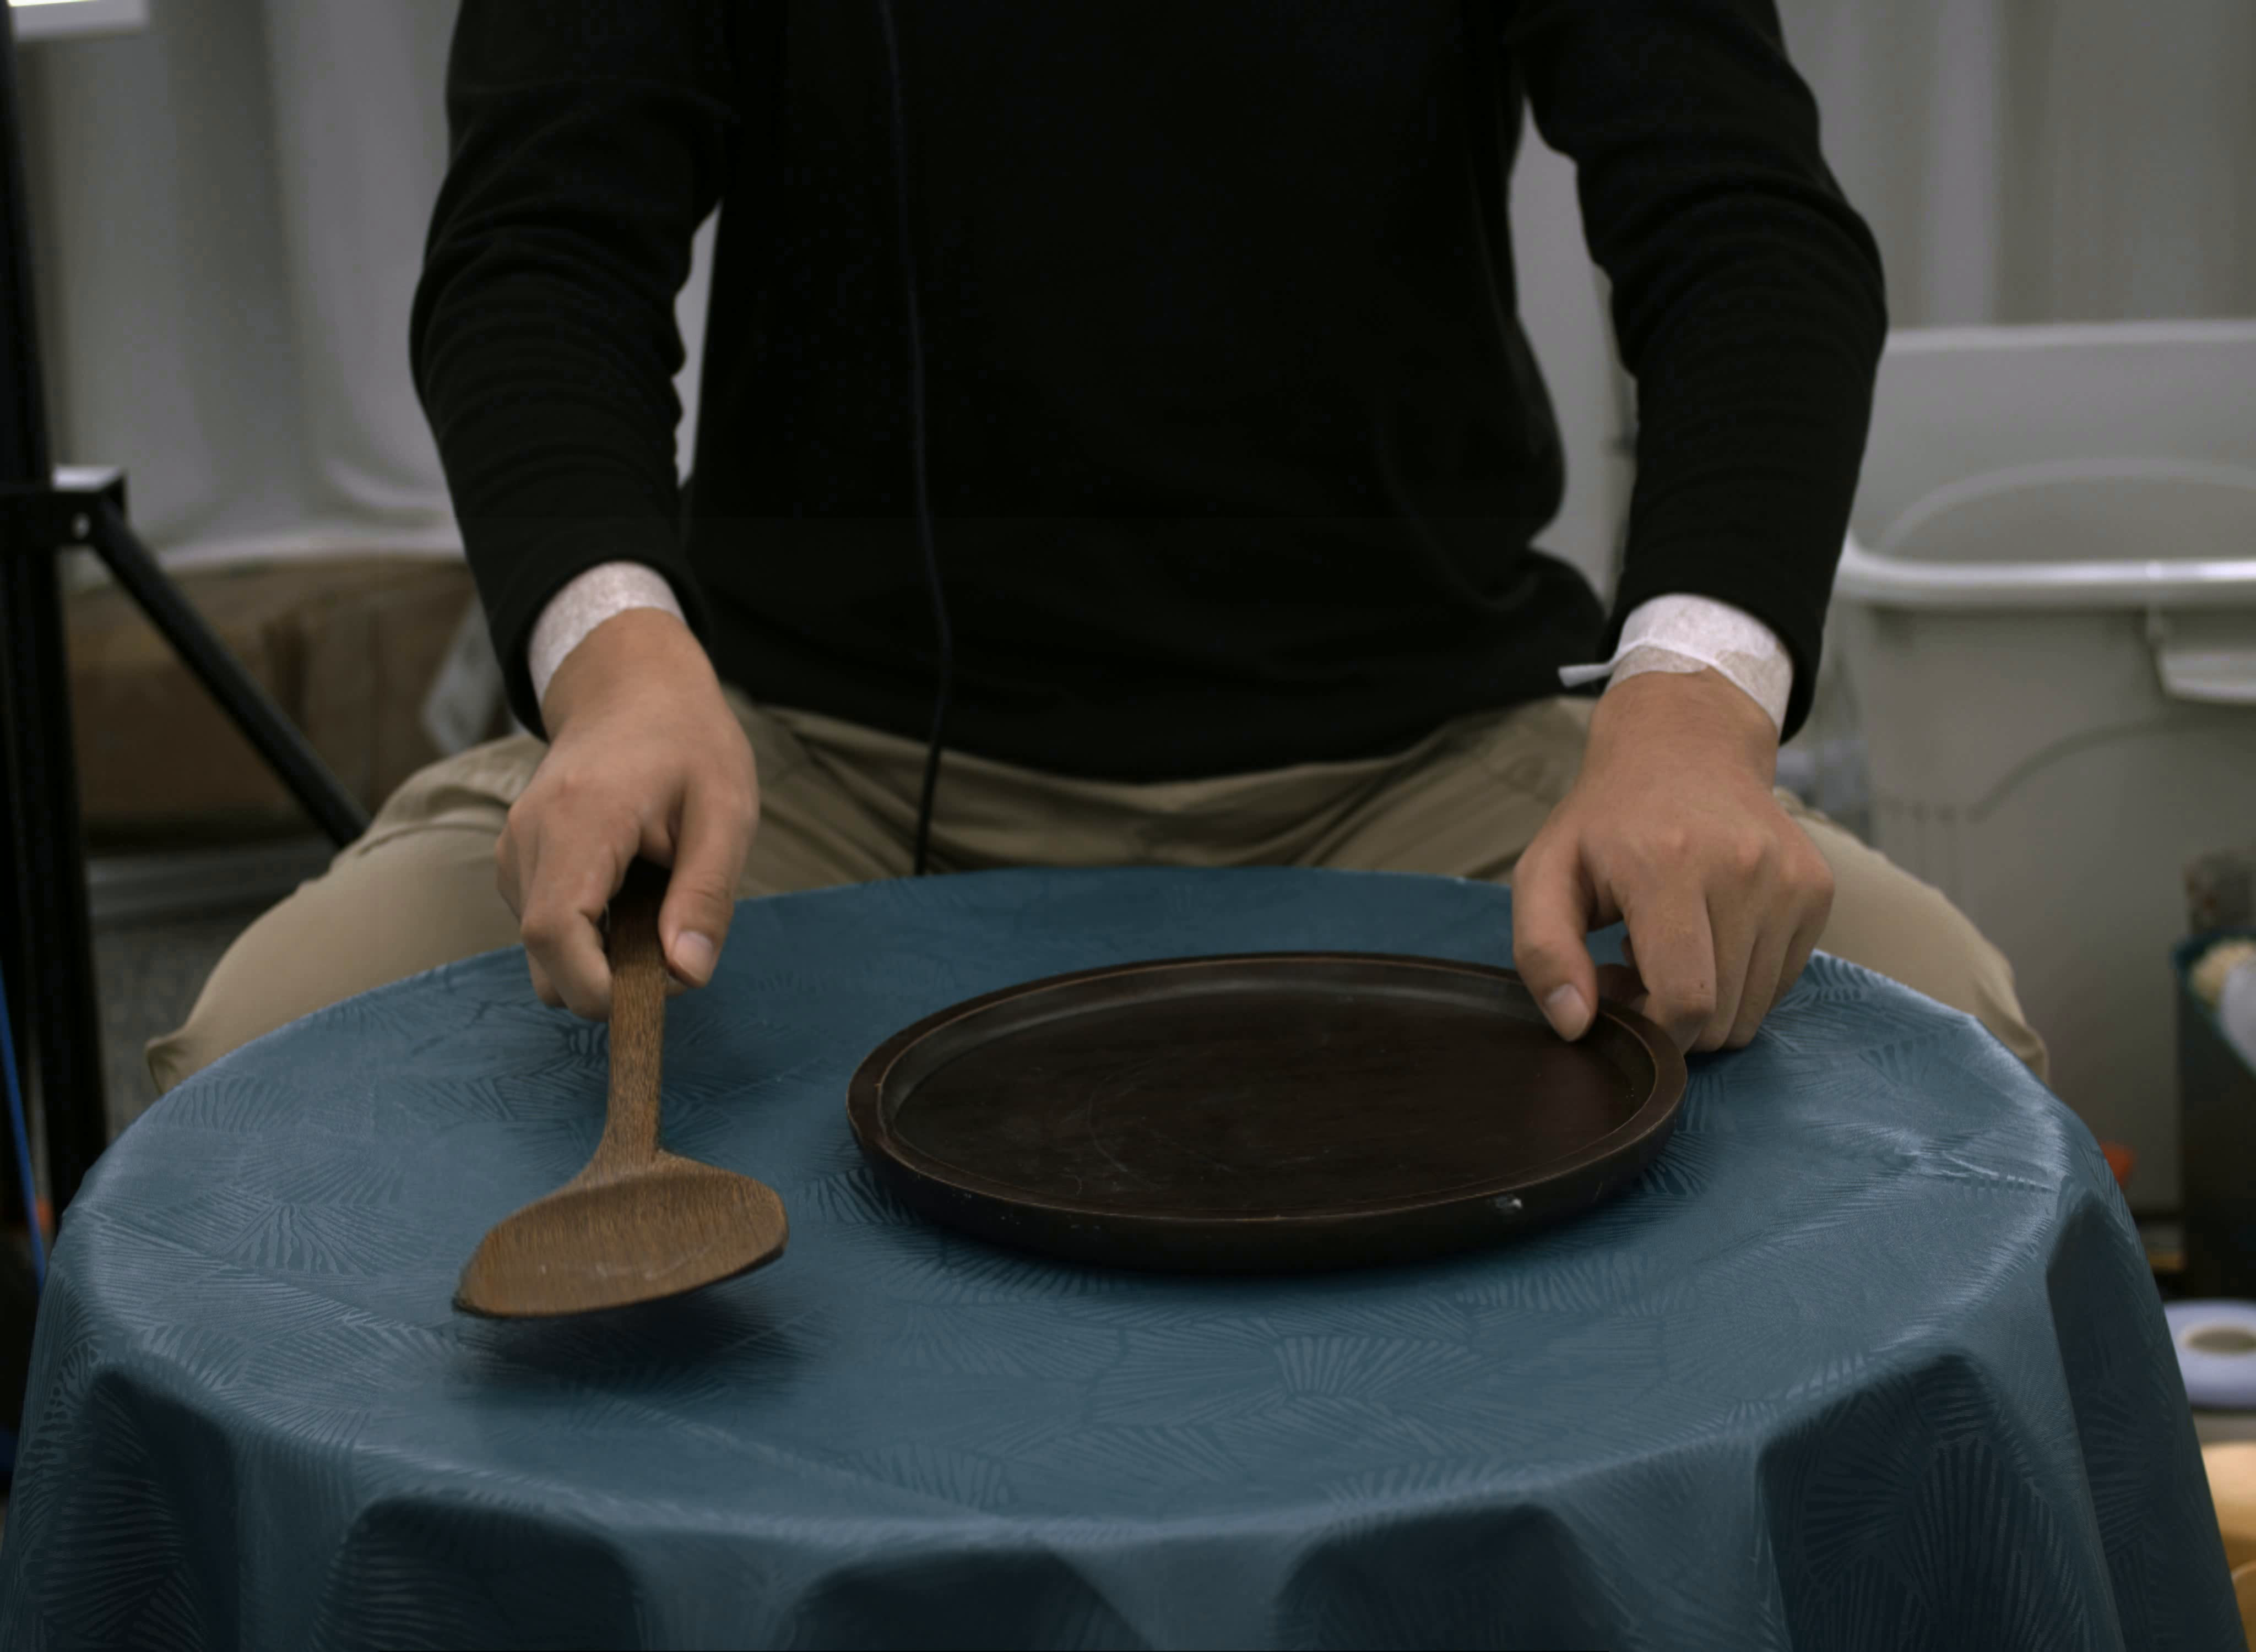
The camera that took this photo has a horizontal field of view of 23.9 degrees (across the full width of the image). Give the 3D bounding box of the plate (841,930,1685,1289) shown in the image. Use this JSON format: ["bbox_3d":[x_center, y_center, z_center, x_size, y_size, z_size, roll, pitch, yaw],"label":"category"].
[{"bbox_3d":[0.040,0.085,1.590,0.253,0.029,0.256,-3,17,0],"label":"plate"}]

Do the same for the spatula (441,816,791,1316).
[{"bbox_3d":[-0.148,0.063,1.602,0.096,0.016,0.389,-10,21,0],"label":"spatula"}]
